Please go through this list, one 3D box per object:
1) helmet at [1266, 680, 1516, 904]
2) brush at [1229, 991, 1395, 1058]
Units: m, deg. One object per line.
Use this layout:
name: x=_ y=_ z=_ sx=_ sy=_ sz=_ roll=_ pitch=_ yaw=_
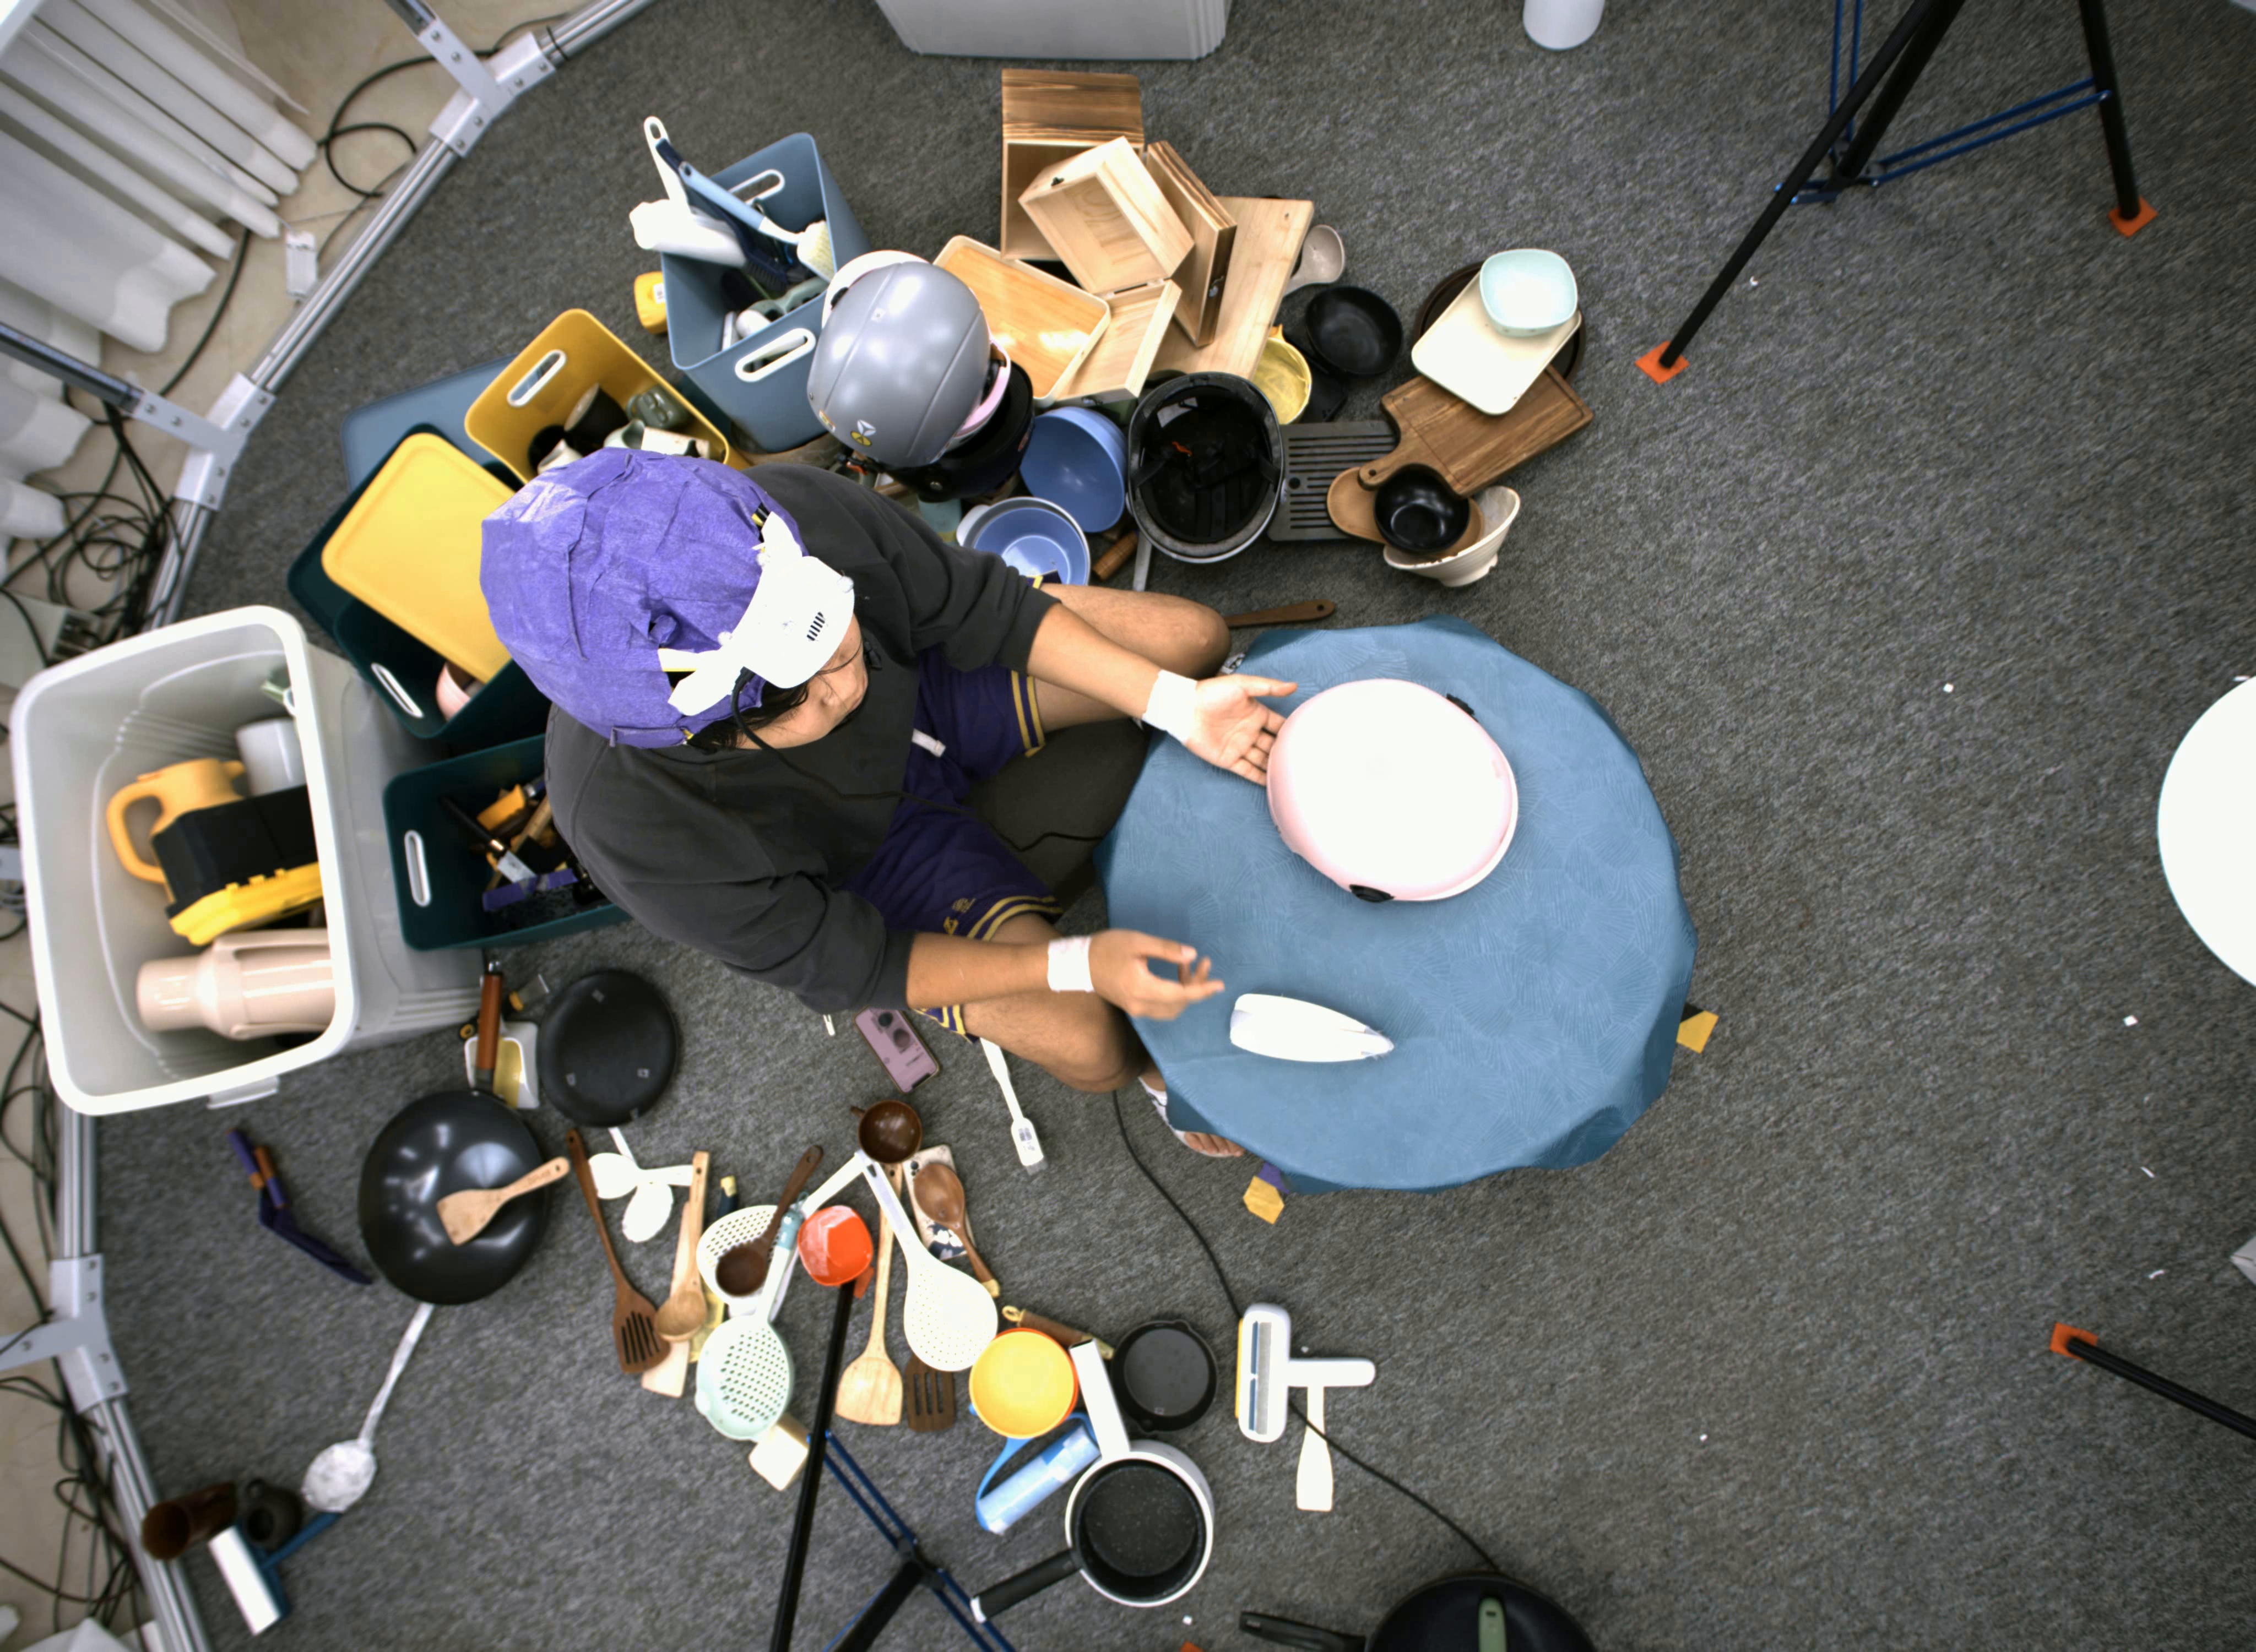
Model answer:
helmet: x=0.270 y=-0.042 z=1.389 sx=0.266 sy=0.159 sz=0.234 roll=25 pitch=90 yaw=7
brush: x=0.188 y=0.209 z=1.420 sx=0.176 sy=0.094 sz=0.061 roll=9 pitch=87 yaw=9
